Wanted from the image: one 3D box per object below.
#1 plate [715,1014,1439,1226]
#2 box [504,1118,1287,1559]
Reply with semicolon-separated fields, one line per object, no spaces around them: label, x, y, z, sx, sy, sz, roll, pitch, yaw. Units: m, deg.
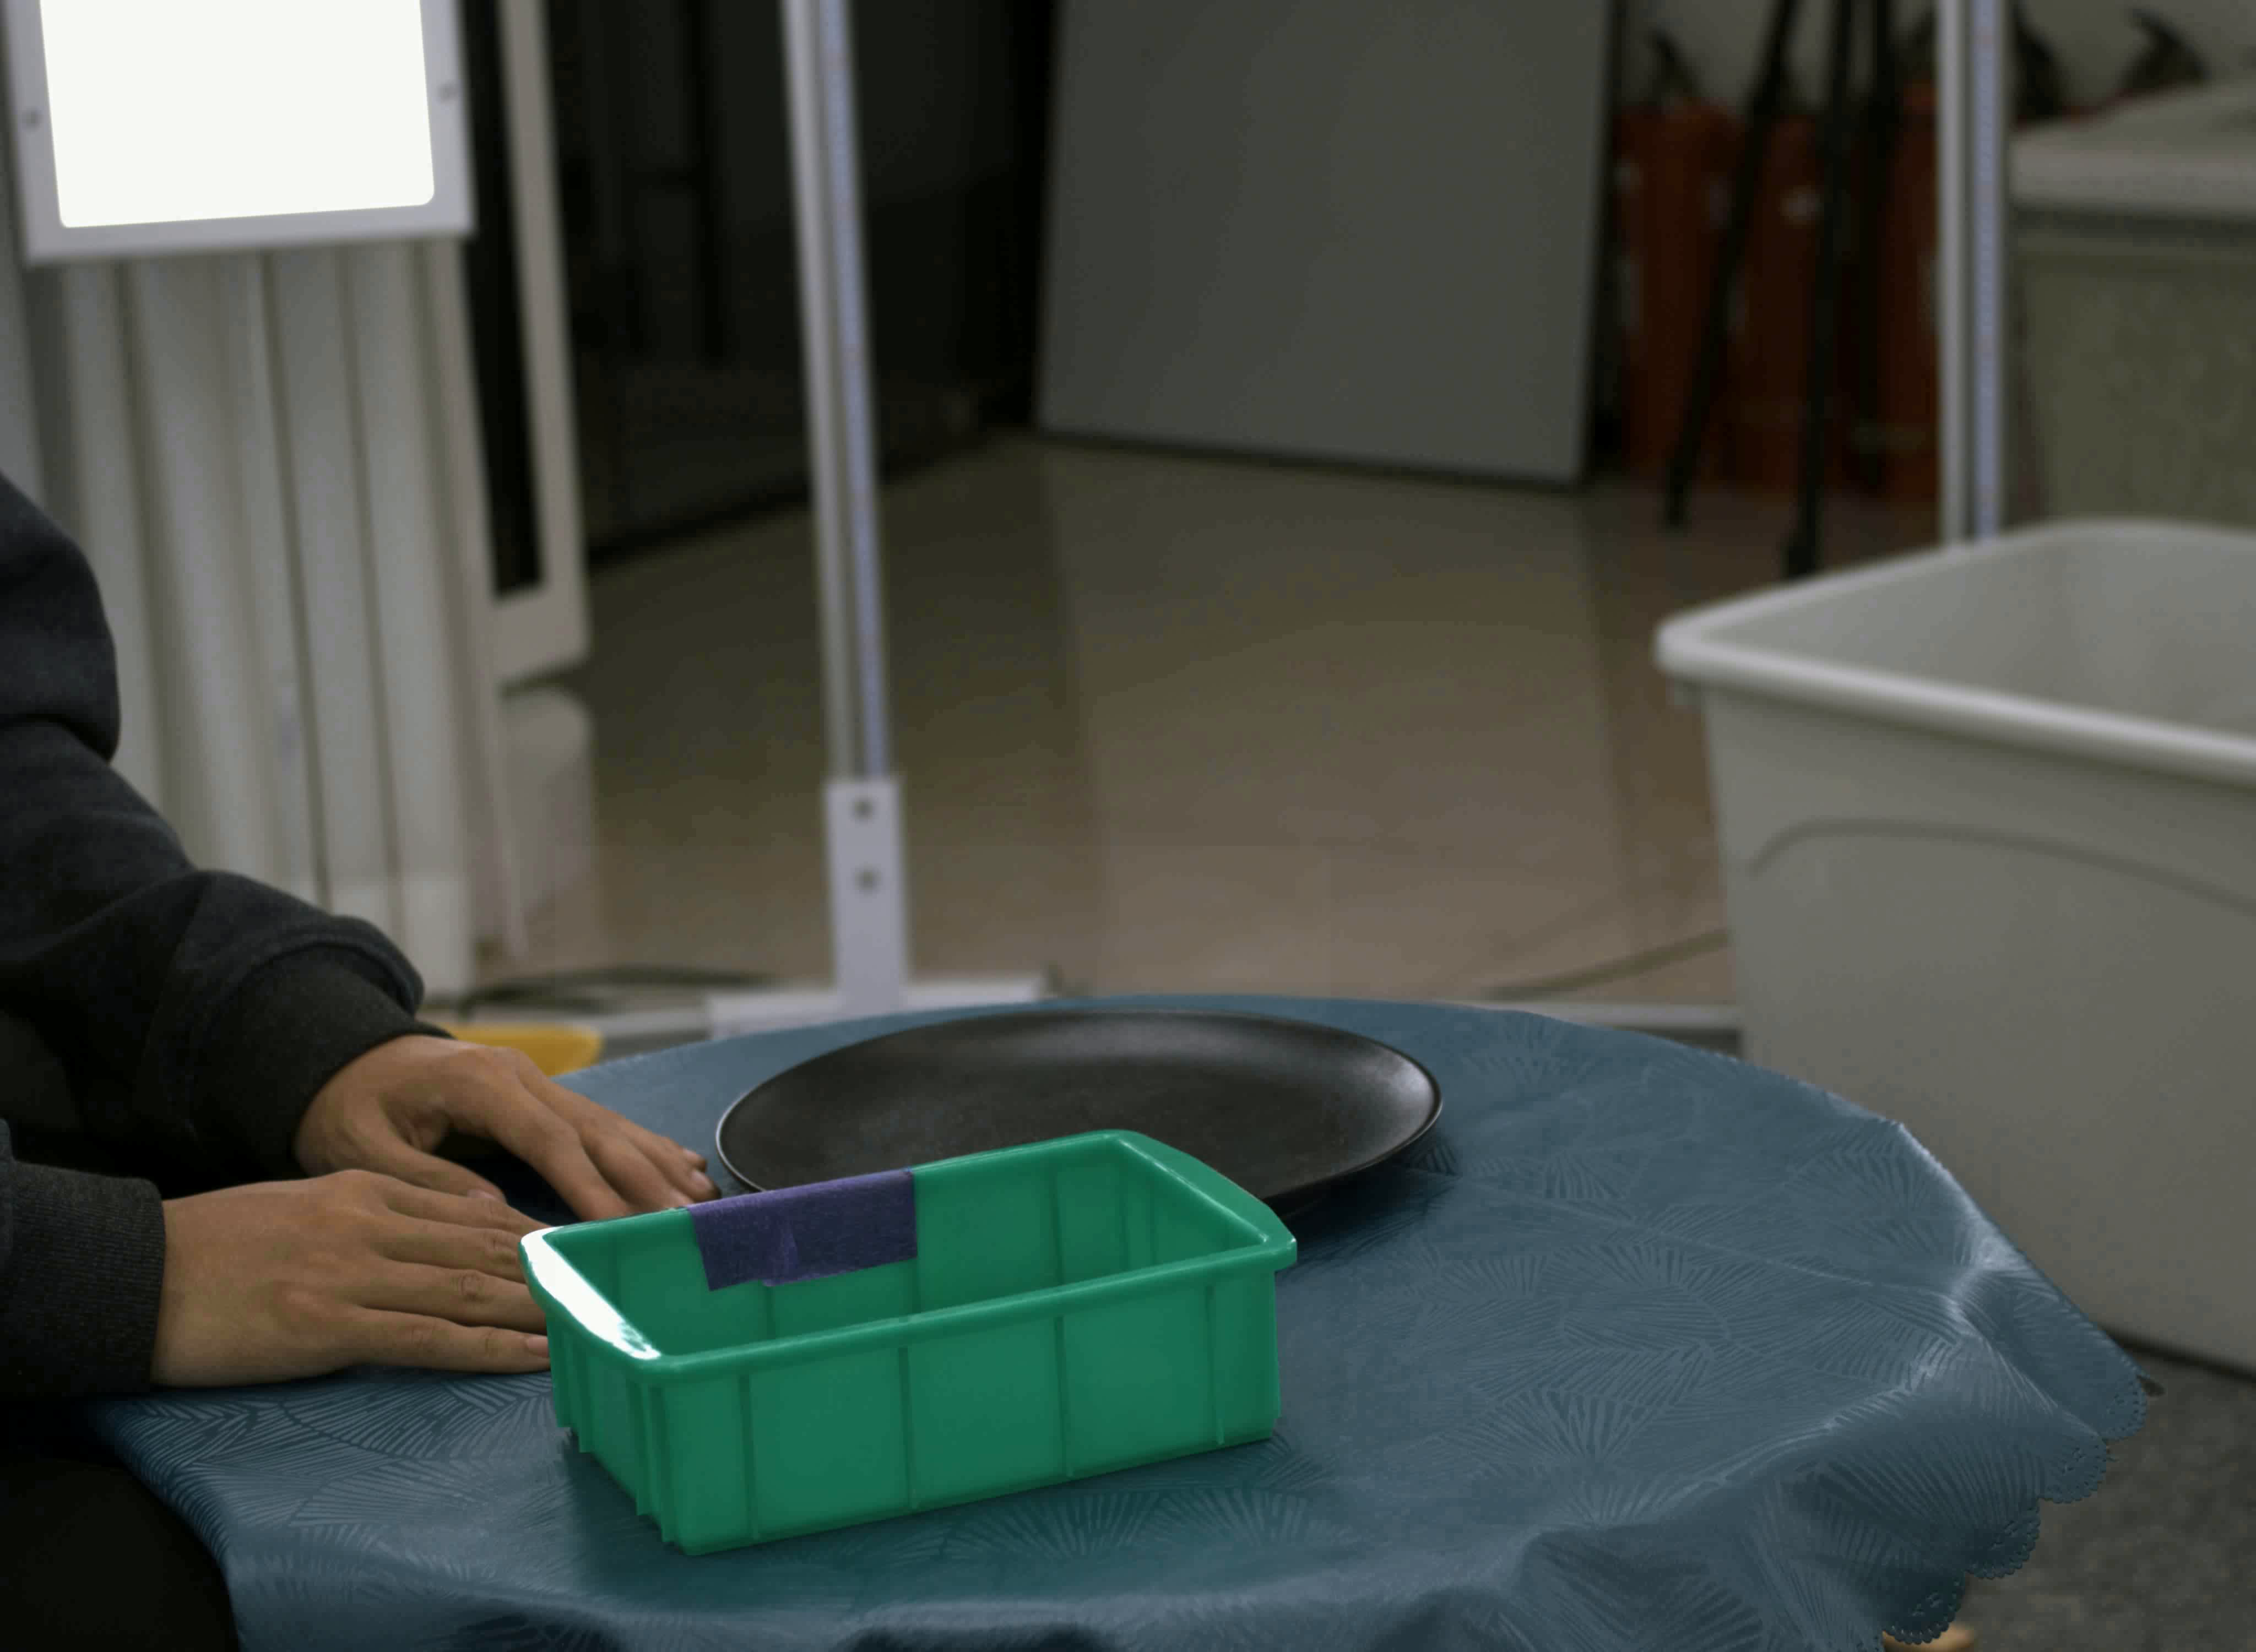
plate;-0.016;0.106;1.790;0.241;0.024;0.245;-4;14;0
box;-0.065;0.146;1.550;0.206;0.066;0.140;-11;13;-20
